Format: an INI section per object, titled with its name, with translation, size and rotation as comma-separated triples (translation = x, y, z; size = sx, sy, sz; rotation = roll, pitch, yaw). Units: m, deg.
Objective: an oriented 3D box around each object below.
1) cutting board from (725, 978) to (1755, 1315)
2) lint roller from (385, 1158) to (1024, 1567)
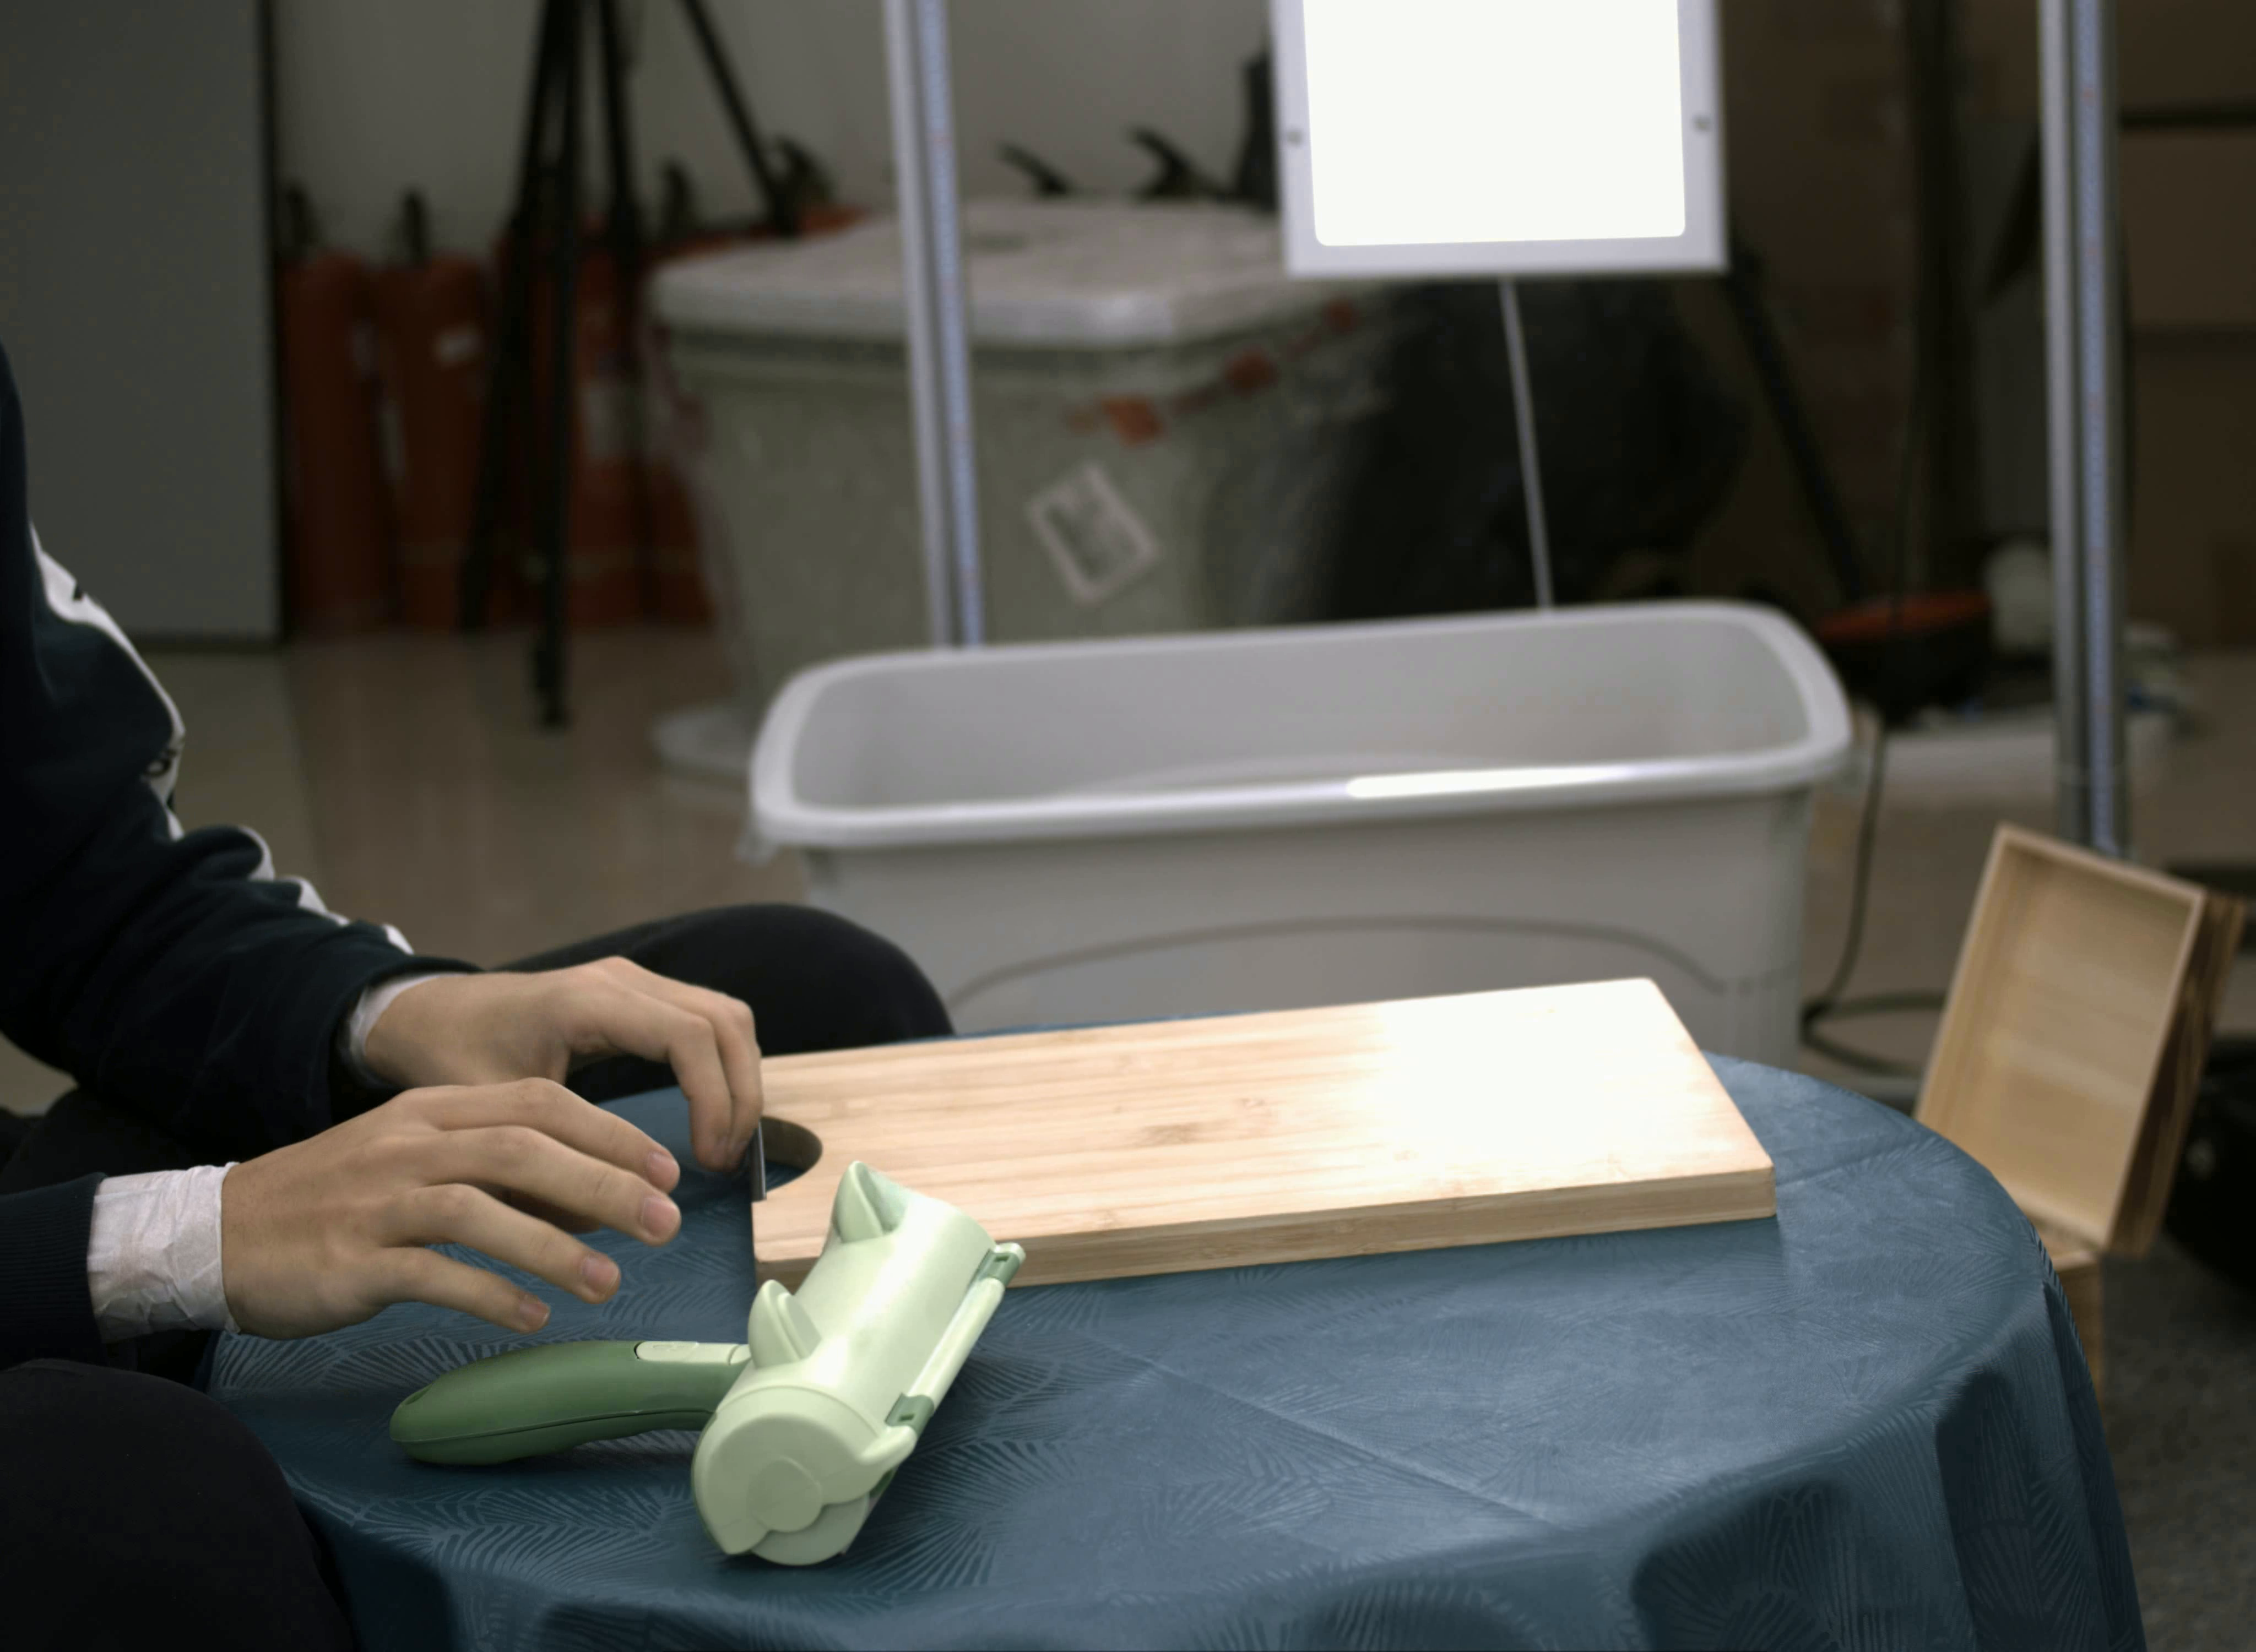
[cutting board]
translation = 0.032, 0.109, 1.921
size = 0.347, 0.023, 0.251
rotation = -6, 13, -2
[lint roller]
translation = -0.137, 0.155, 1.667
size = 0.184, 0.082, 0.196
rotation = 2, 15, 11
